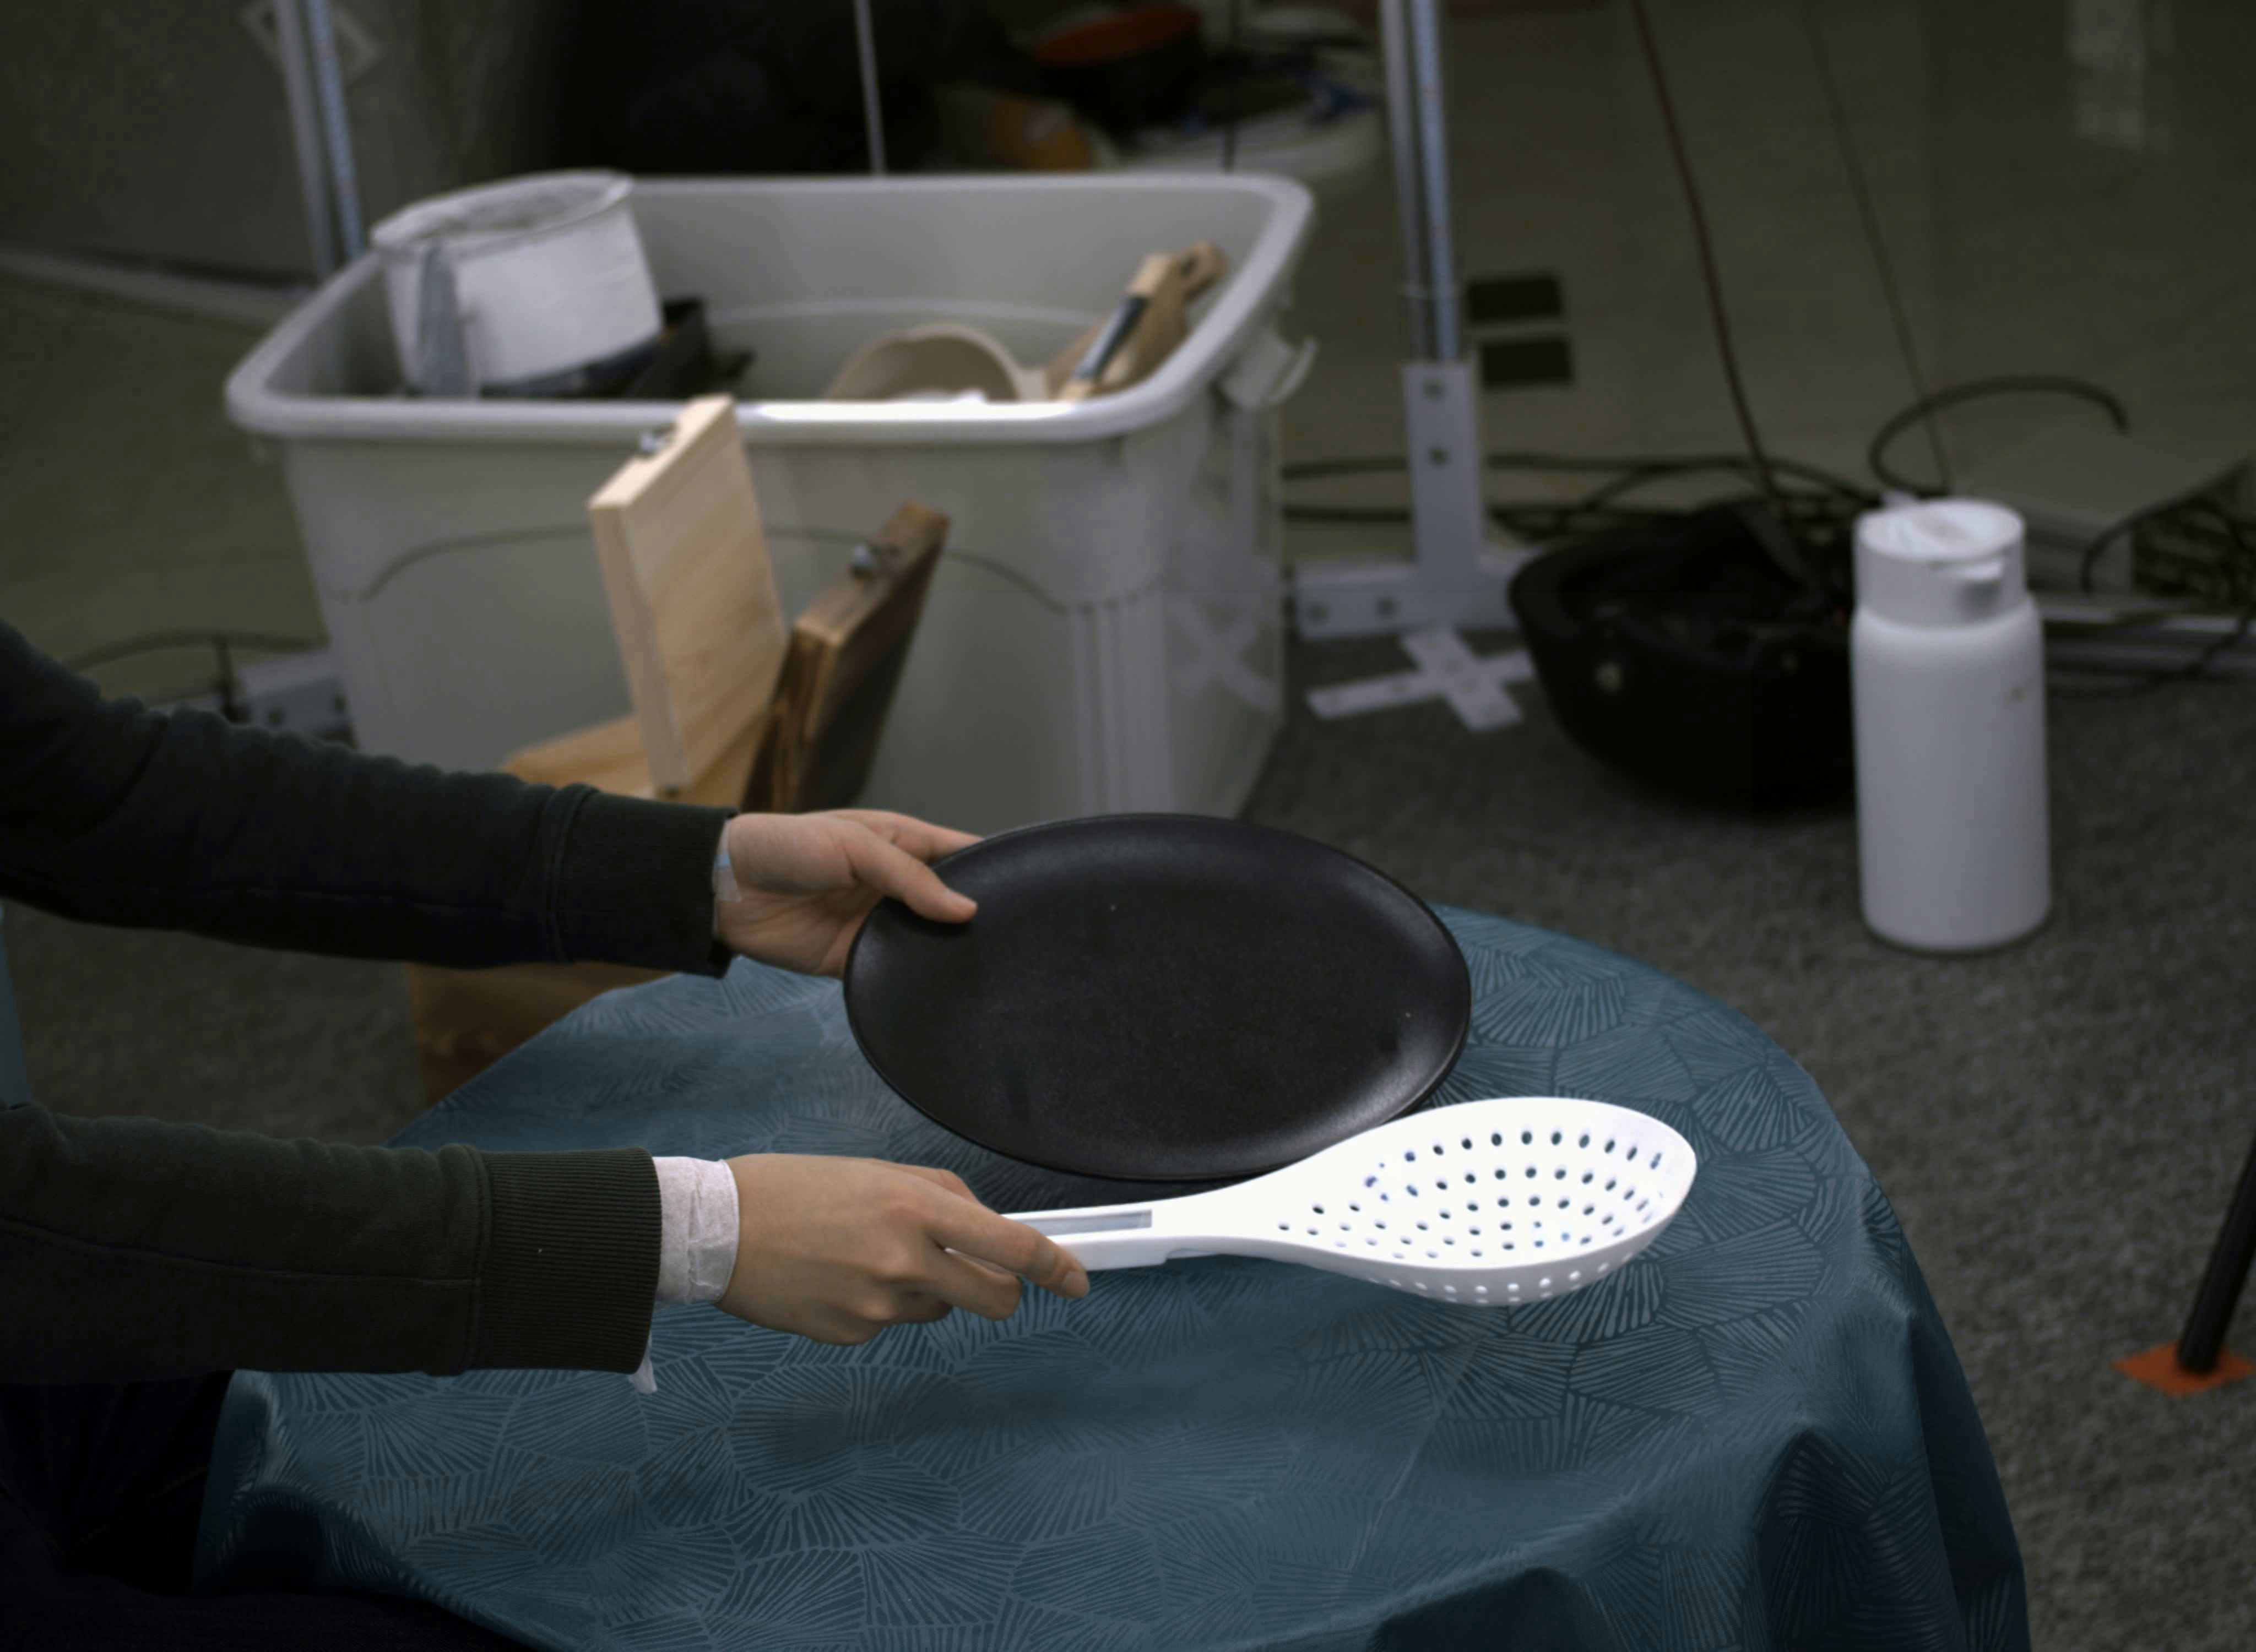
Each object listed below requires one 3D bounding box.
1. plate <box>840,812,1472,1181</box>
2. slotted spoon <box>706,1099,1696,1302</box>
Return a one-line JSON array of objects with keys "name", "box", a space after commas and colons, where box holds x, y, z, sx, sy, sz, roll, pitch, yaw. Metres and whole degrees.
[{"name": "plate", "box": [0.010, 0.070, 2.184, 0.244, 0.024, 0.240, 1, 34, -1]}, {"name": "slotted spoon", "box": [0.024, 0.141, 2.001, 0.349, 0.046, 0.134, -1, 21, 2]}]
